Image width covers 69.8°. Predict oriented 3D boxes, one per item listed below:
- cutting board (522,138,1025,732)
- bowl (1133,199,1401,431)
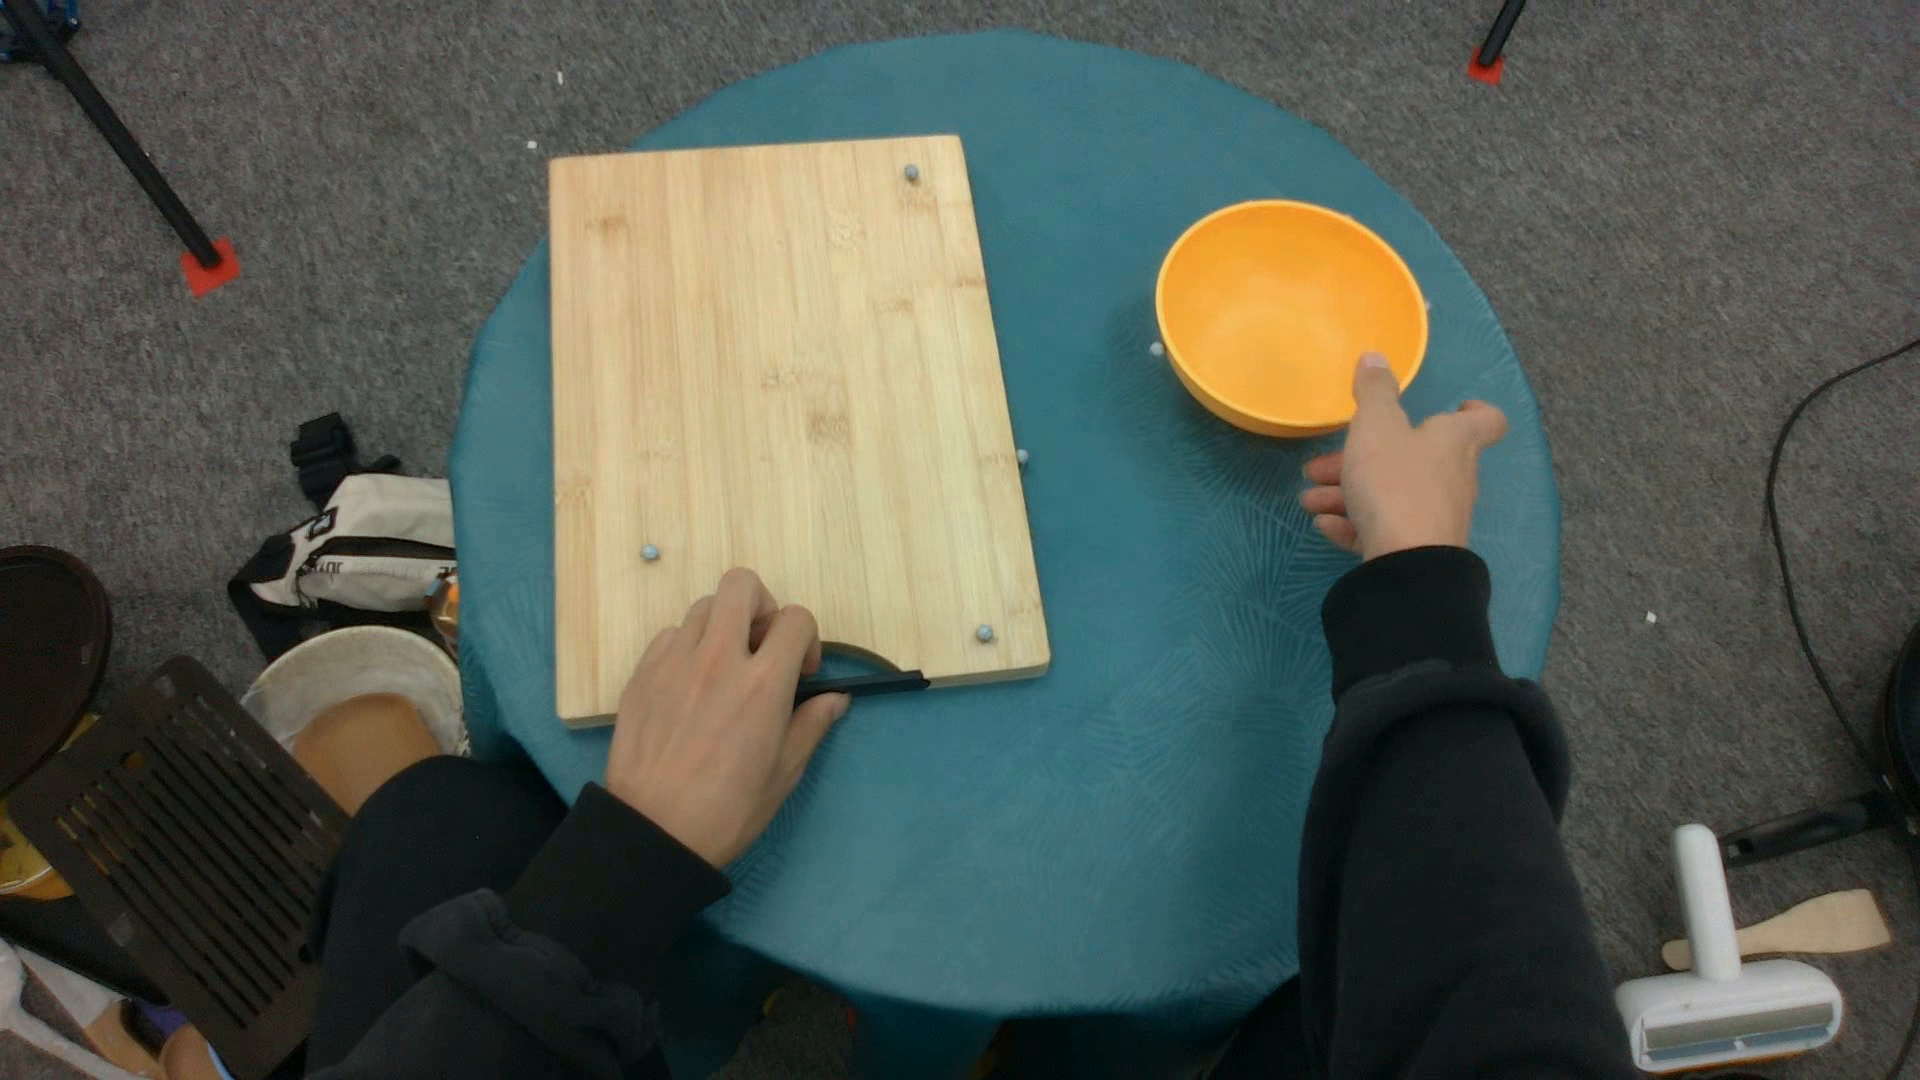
[{"bbox_3d":[-0.110,-0.076,0.743,0.251,0.023,0.349,-6,65,-8],"label":"cutting board"},{"bbox_3d":[0.164,-0.114,0.764,0.145,0.060,0.146,1,65,-2],"label":"bowl"}]
